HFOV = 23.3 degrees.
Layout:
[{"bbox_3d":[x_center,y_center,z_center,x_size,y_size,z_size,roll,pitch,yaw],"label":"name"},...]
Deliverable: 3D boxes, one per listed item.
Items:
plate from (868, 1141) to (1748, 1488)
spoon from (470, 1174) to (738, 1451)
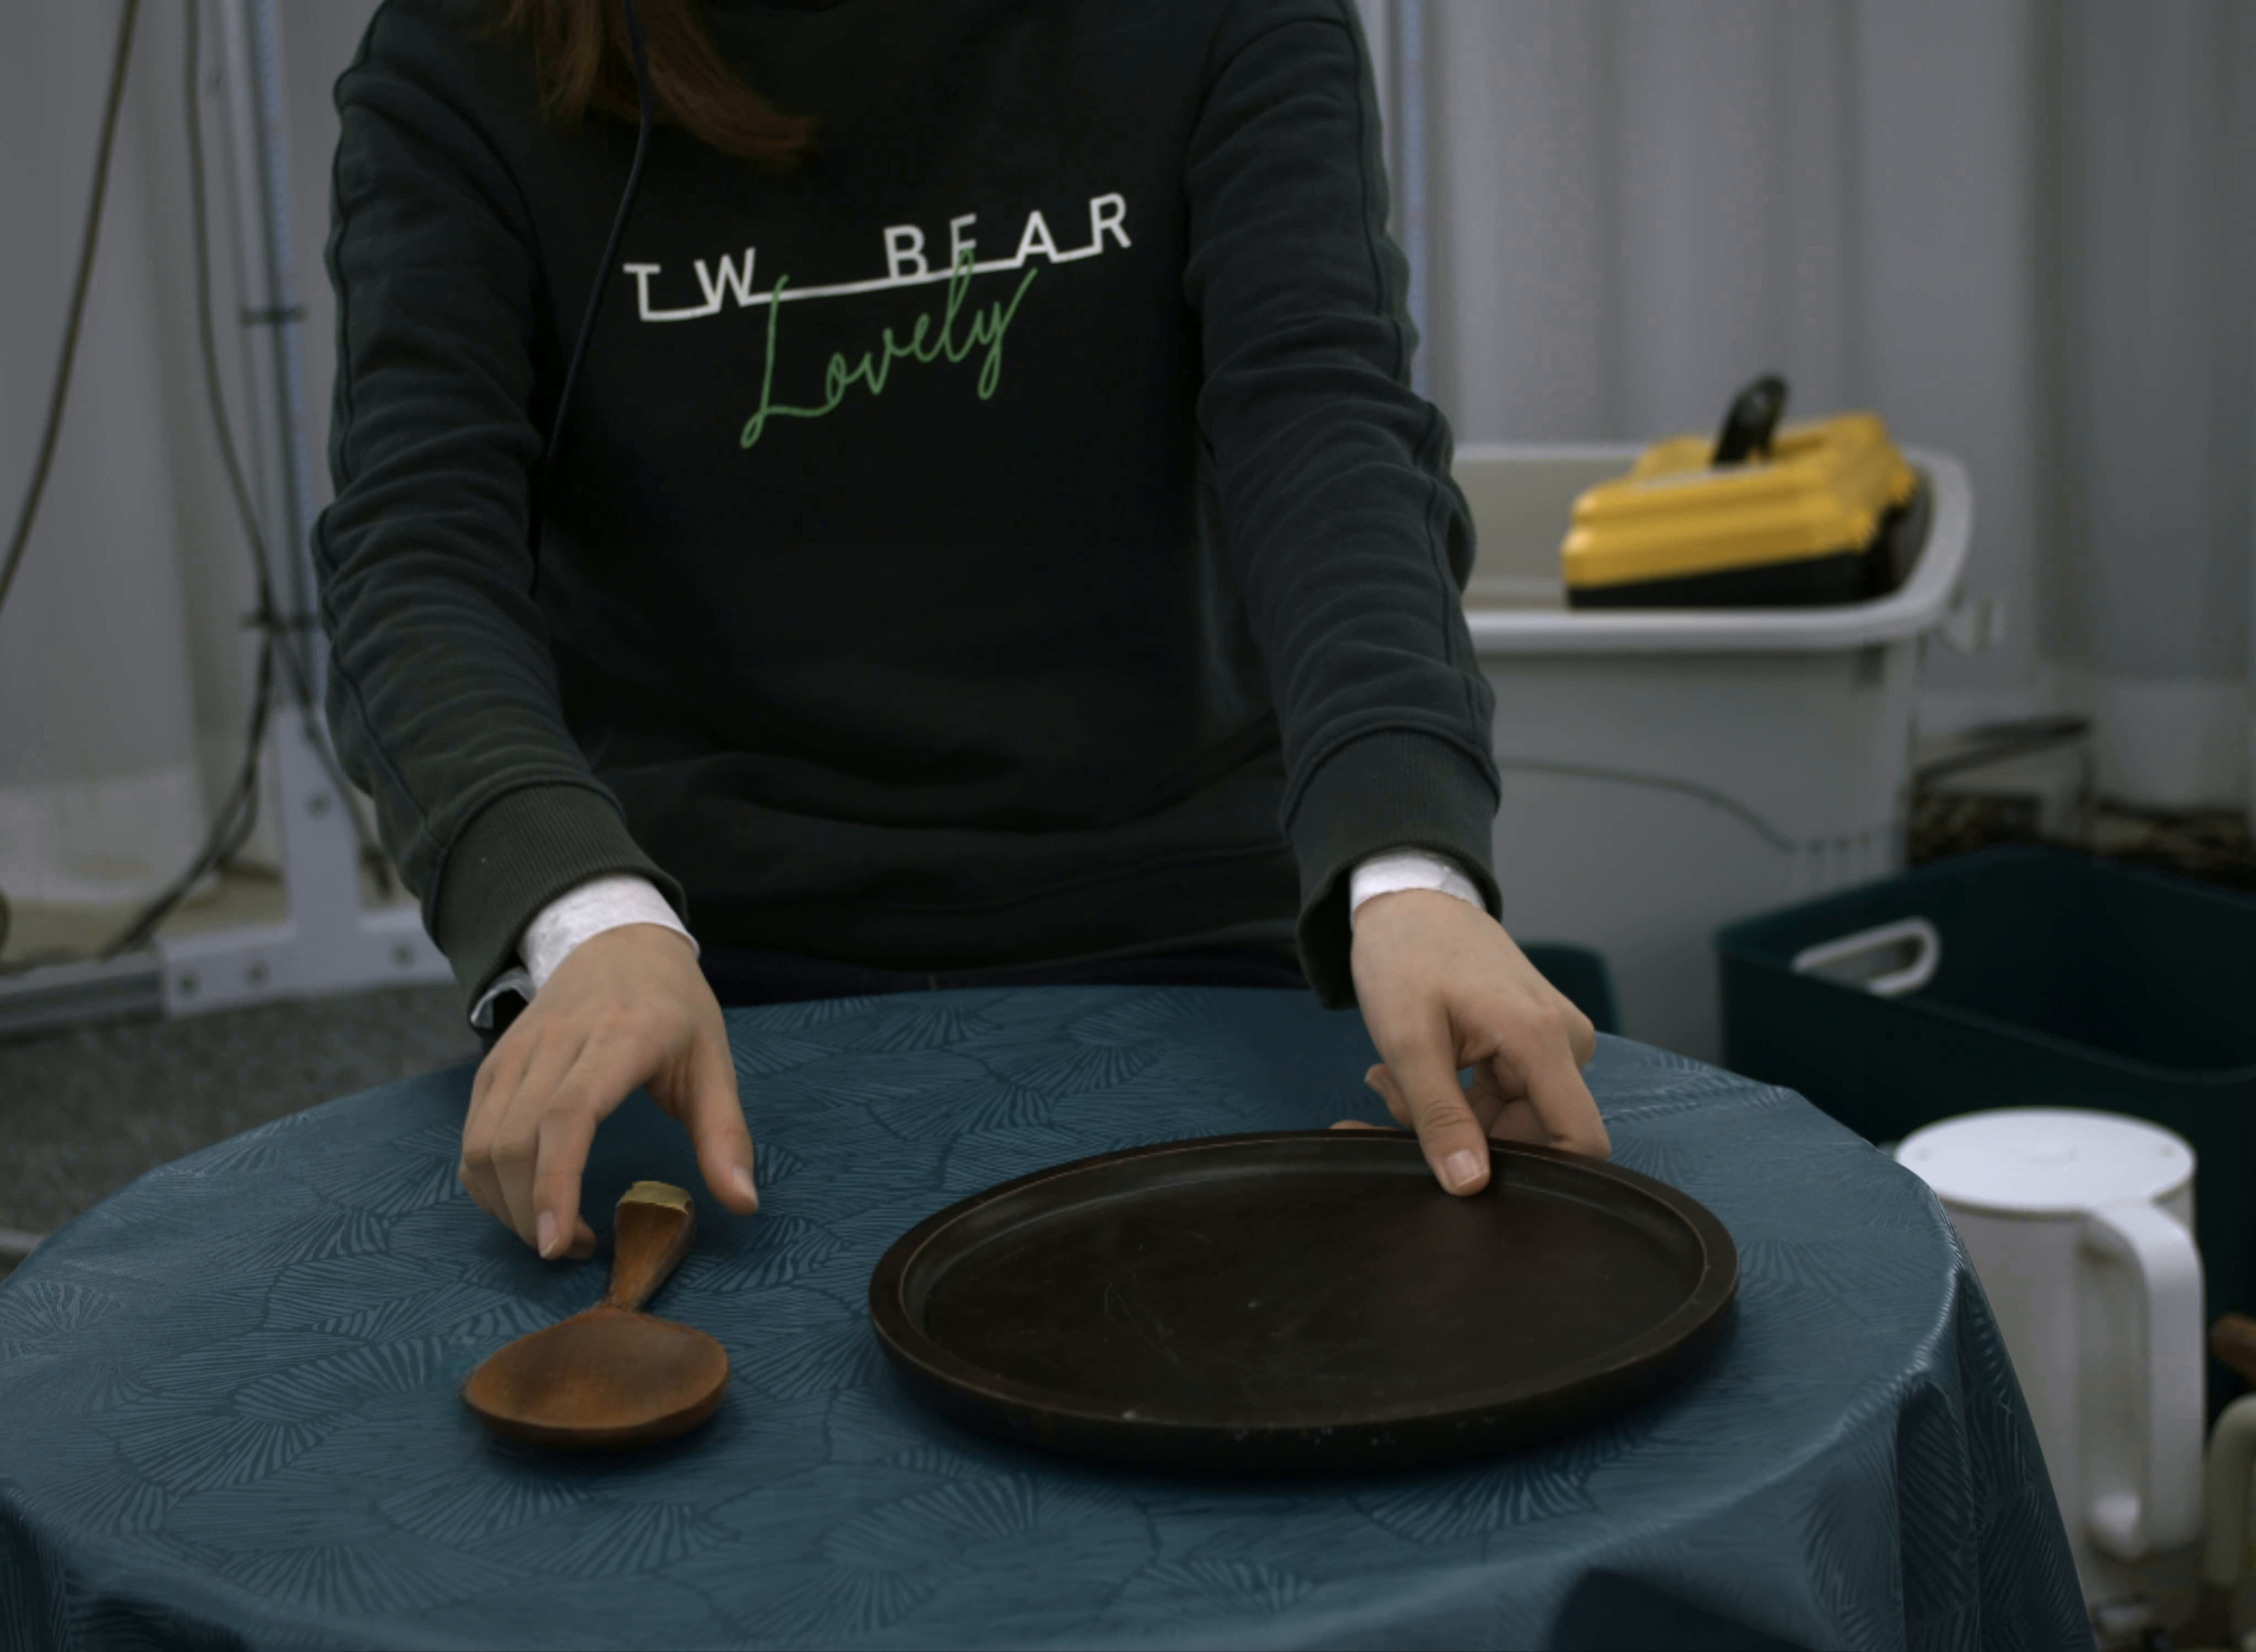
[{"bbox_3d":[0.051,0.138,1.577,0.254,0.029,0.256,-2,16,0],"label":"plate"},{"bbox_3d":[-0.147,0.143,1.601,0.075,0.017,0.217,-3,15,1],"label":"spoon"}]
